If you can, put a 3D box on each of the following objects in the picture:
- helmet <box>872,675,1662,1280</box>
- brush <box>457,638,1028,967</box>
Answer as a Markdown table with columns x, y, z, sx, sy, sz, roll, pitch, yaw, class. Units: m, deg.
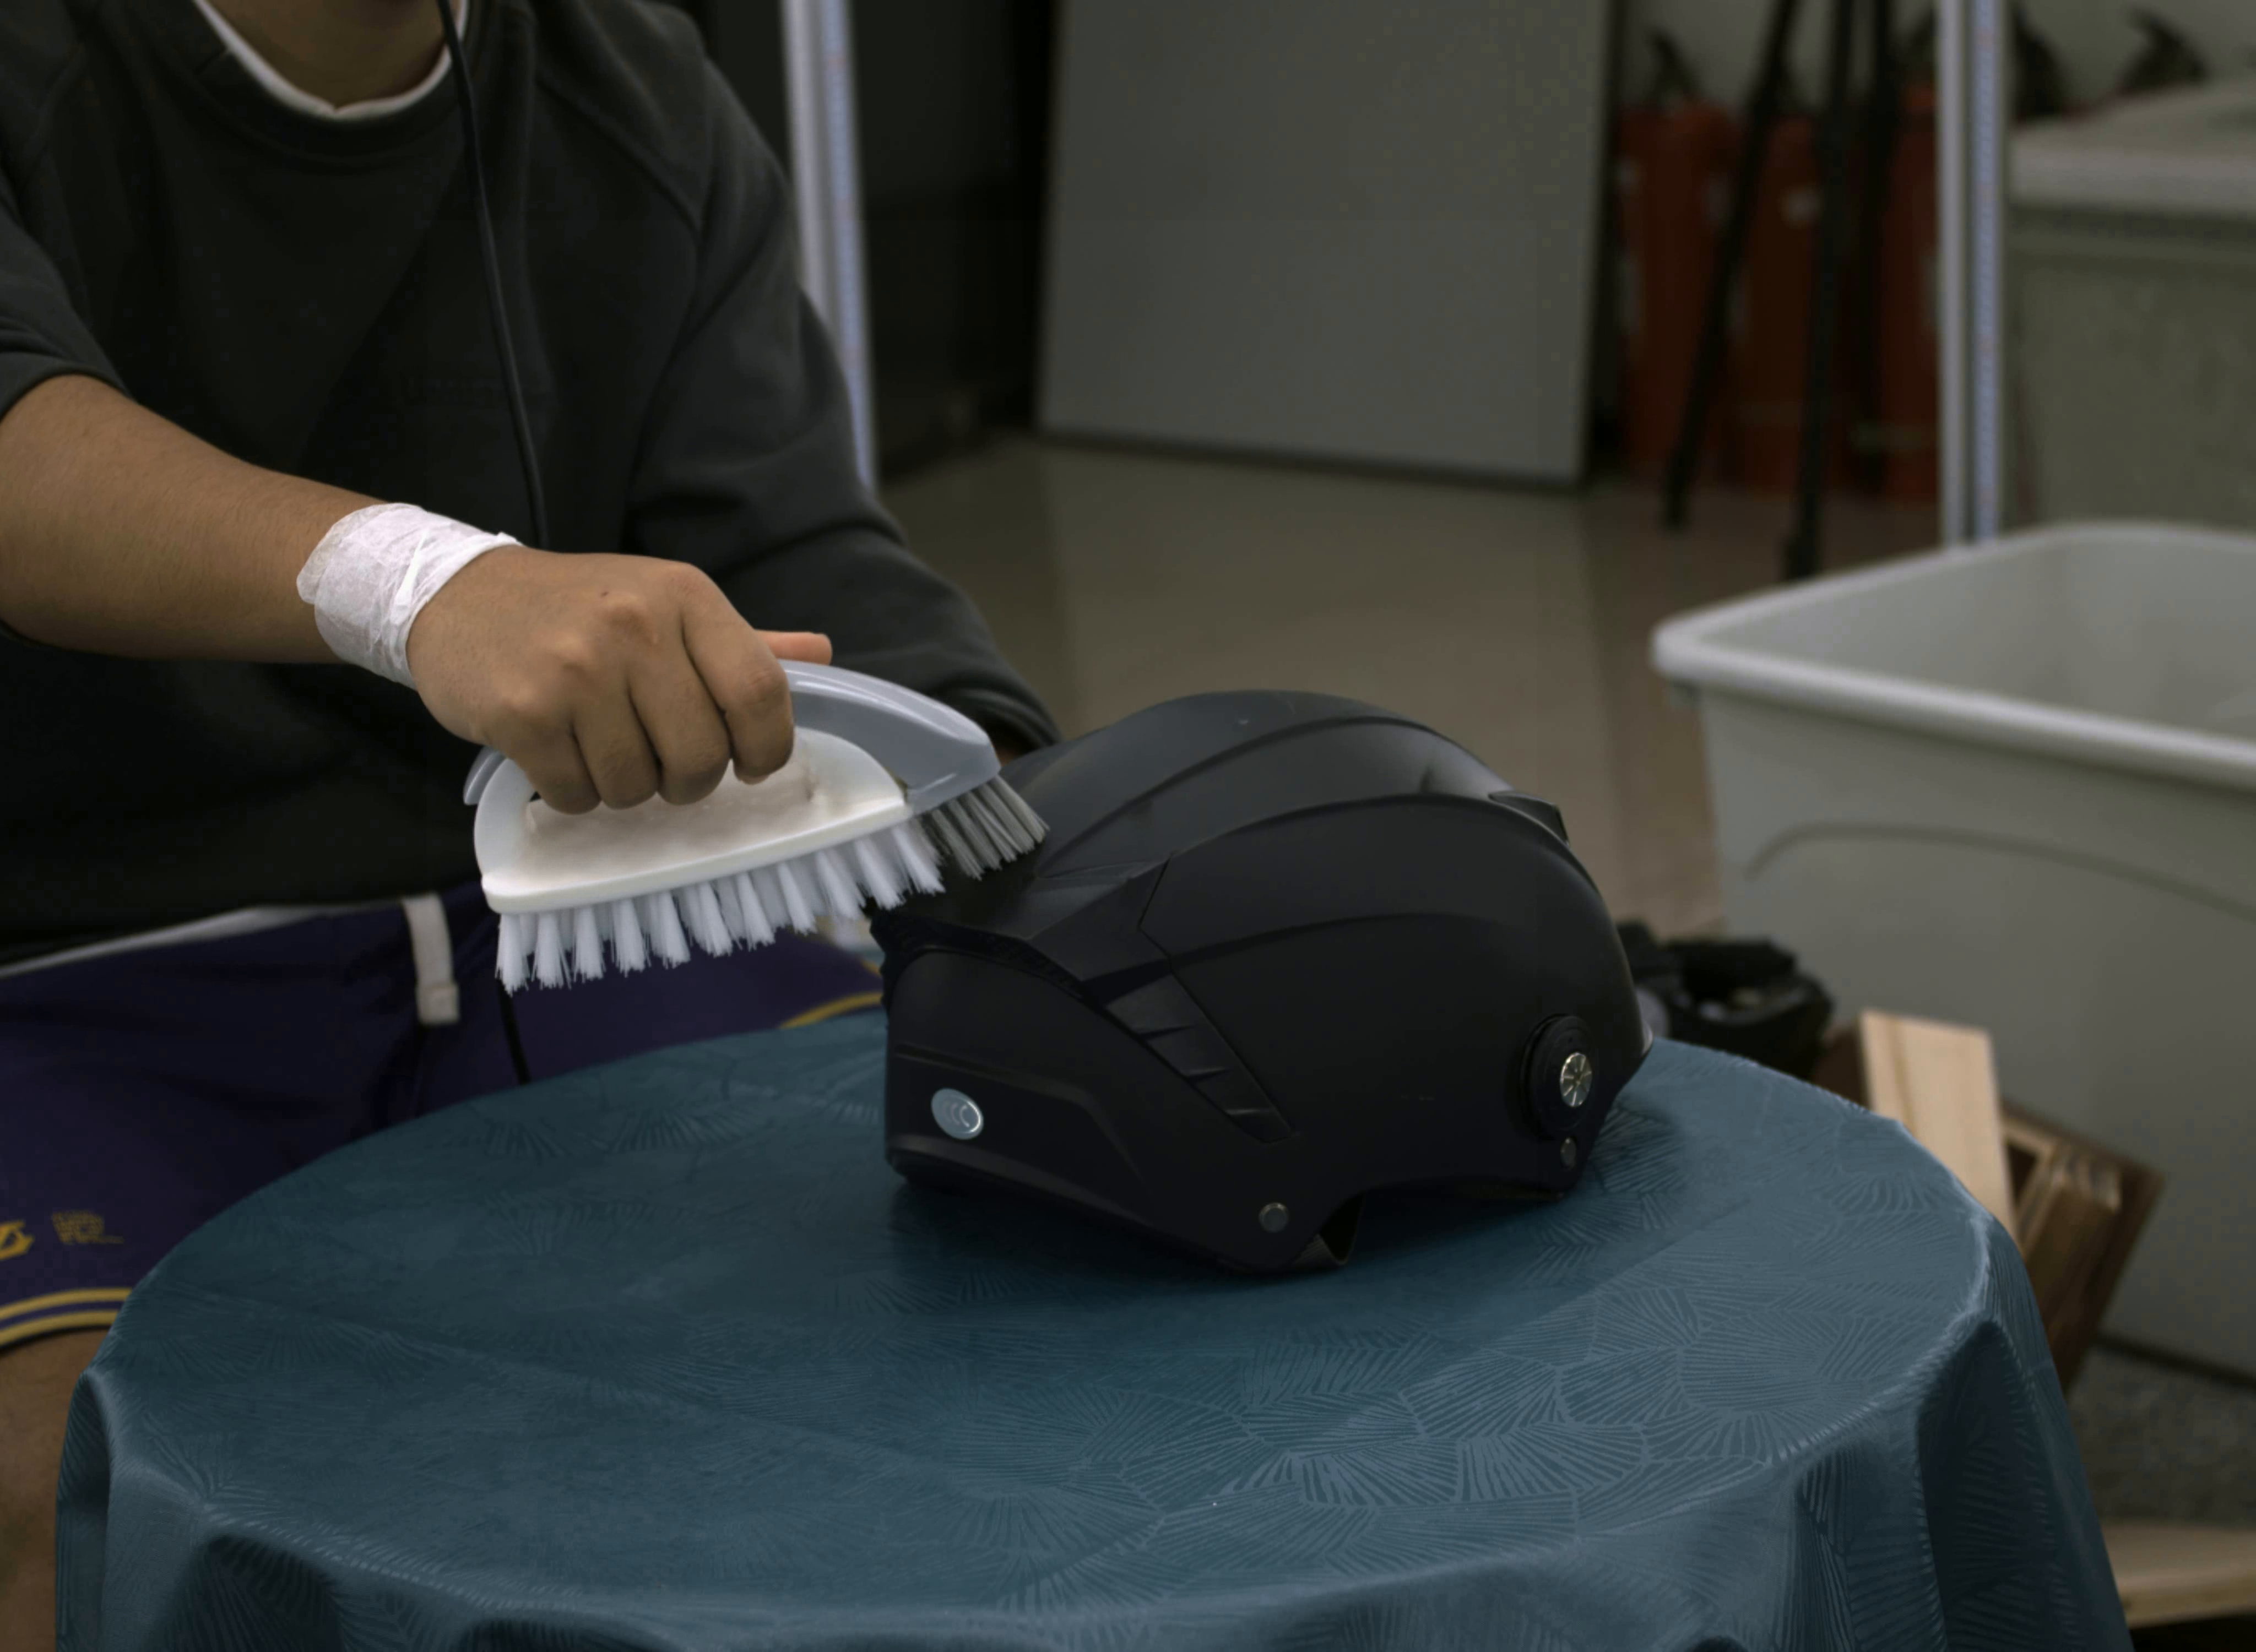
| x | y | z | sx | sy | sz | roll | pitch | yaw | class |
| --- | --- | --- | --- | --- | --- | --- | --- | --- | --- |
| 0.043 | 0.037 | 1.763 | 0.271 | 0.174 | 0.249 | -21 | 22 | -38 | helmet |
| -0.123 | -0.017 | 1.673 | 0.174 | 0.094 | 0.062 | -9 | 32 | 7 | brush |
